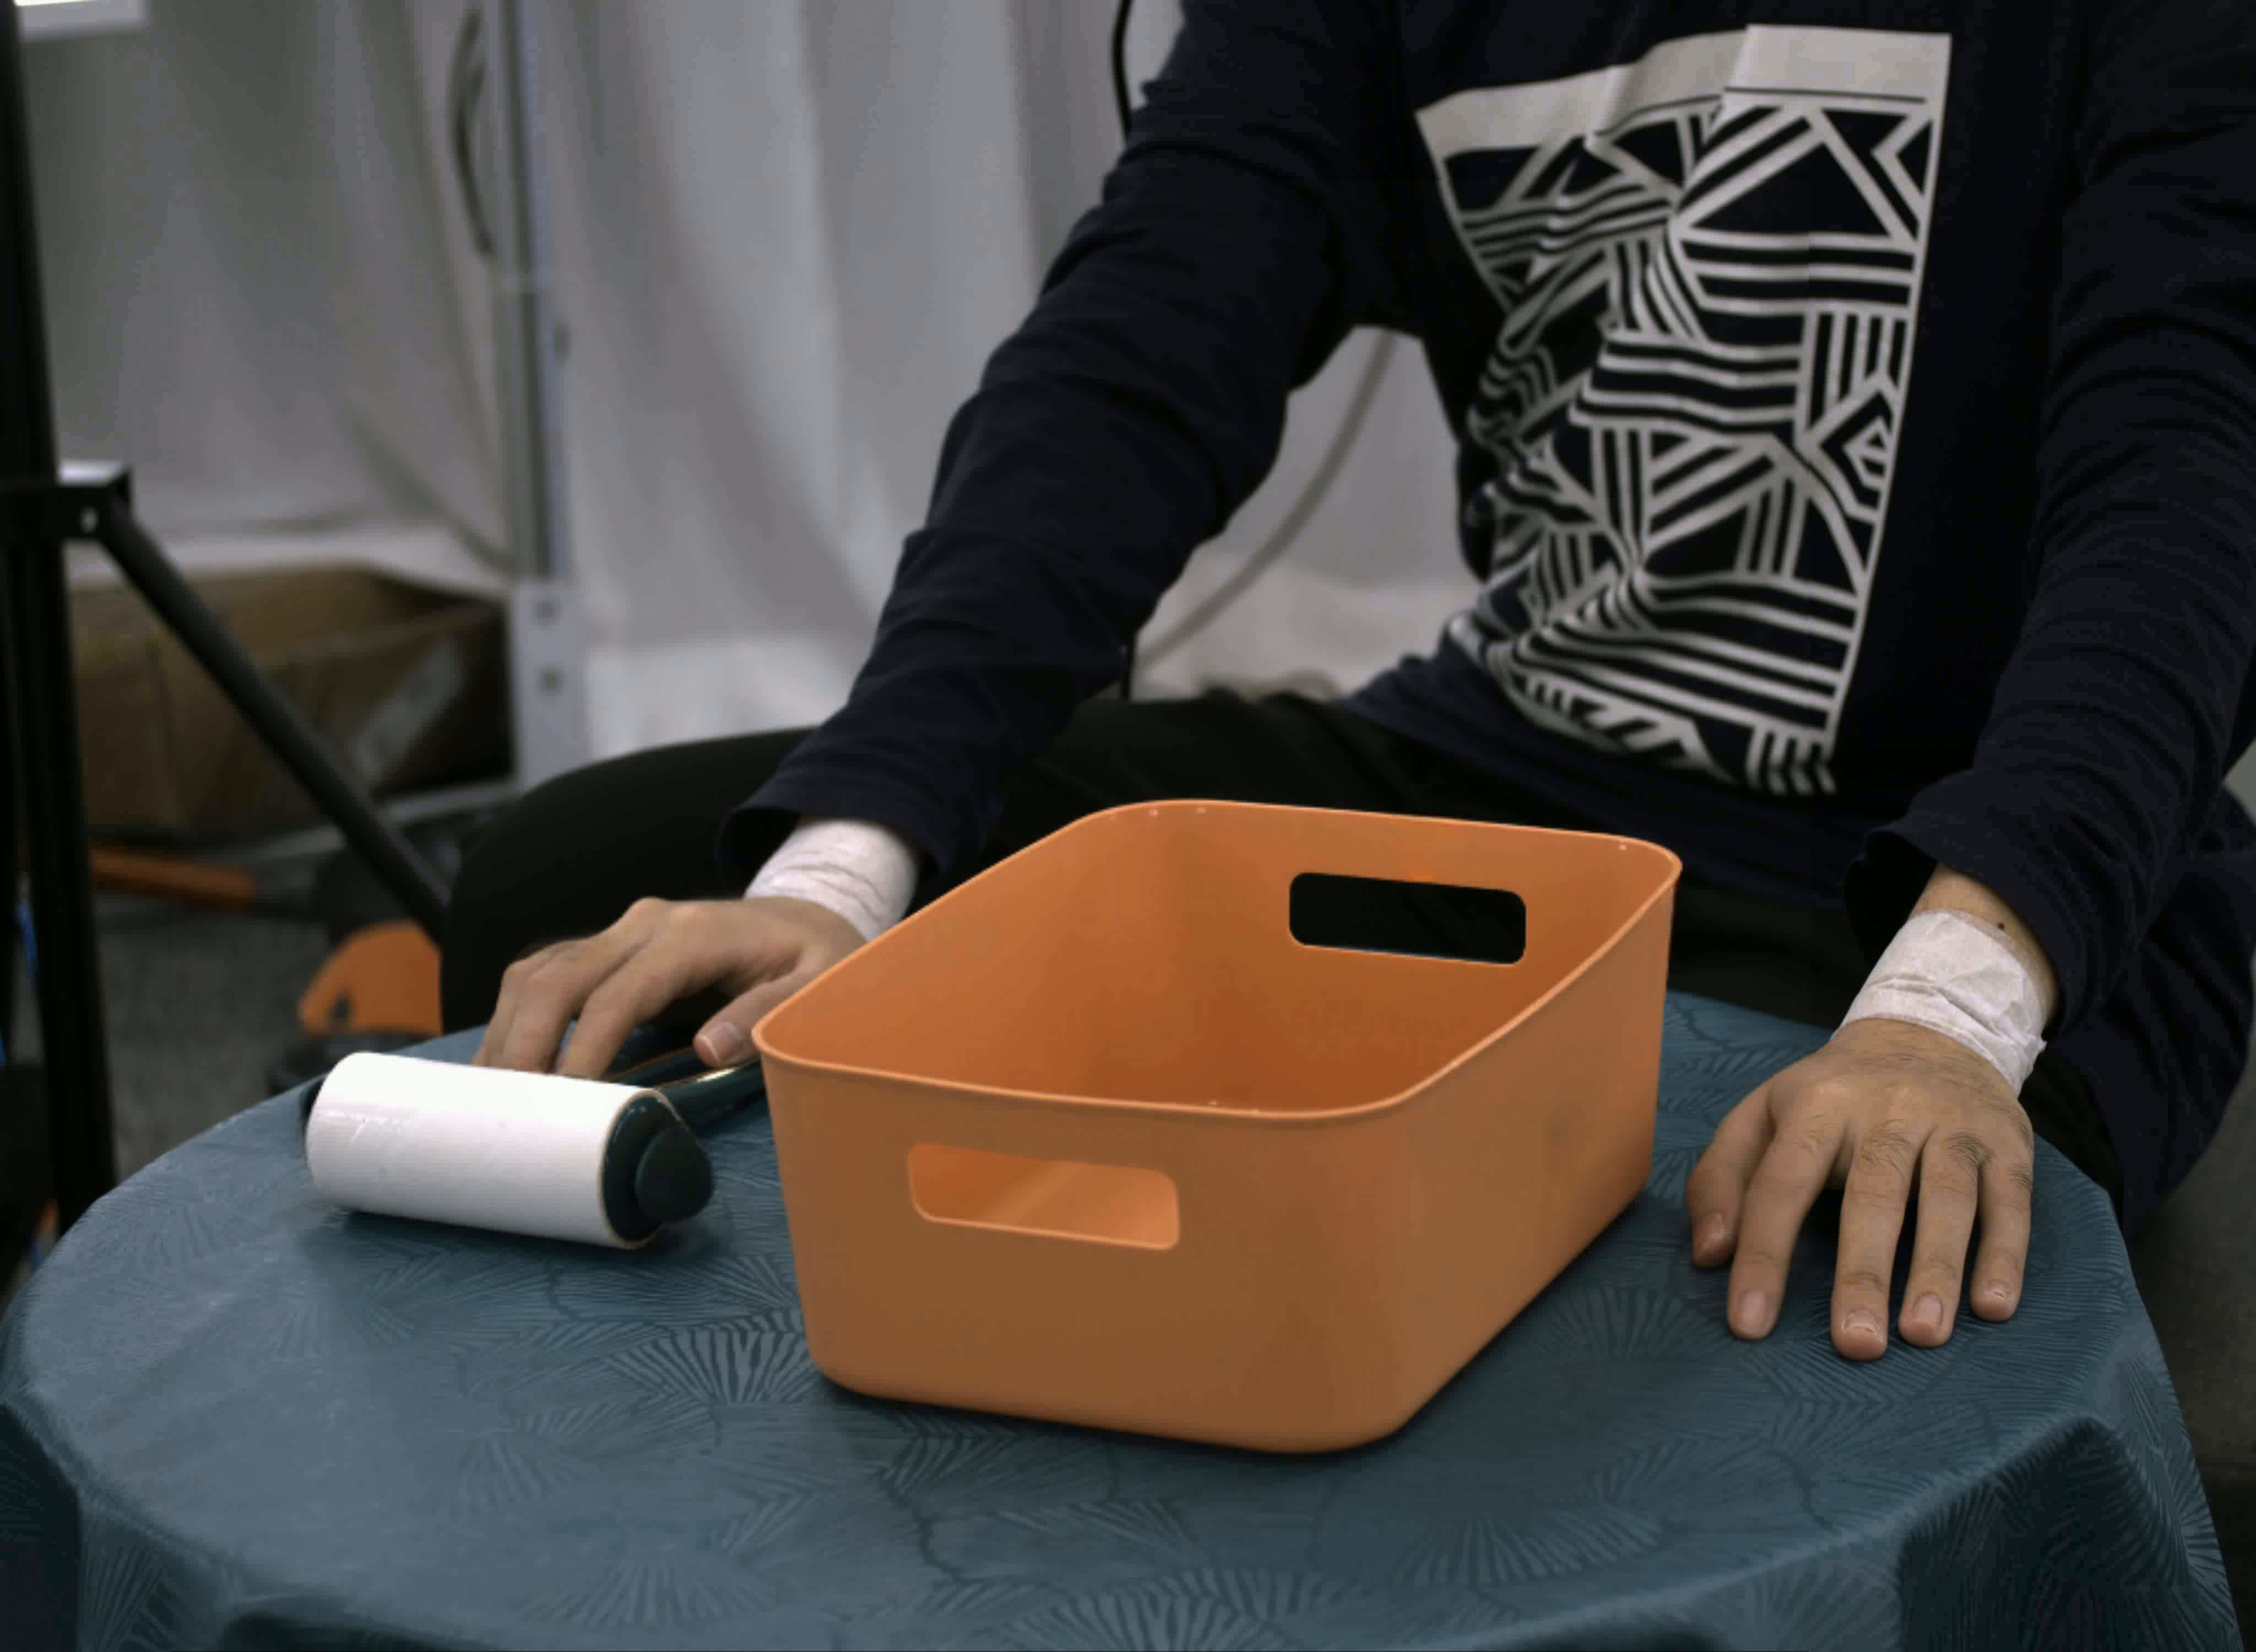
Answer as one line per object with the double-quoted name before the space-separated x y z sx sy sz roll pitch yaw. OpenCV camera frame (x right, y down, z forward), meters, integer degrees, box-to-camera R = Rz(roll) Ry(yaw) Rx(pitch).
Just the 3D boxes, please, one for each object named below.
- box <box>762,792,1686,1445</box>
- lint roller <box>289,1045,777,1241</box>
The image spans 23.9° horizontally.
"box" 0.032 0.077 1.472 0.202 0.102 0.269 5 17 24
"lint roller" -0.156 0.080 1.612 0.136 0.048 0.177 5 13 26
